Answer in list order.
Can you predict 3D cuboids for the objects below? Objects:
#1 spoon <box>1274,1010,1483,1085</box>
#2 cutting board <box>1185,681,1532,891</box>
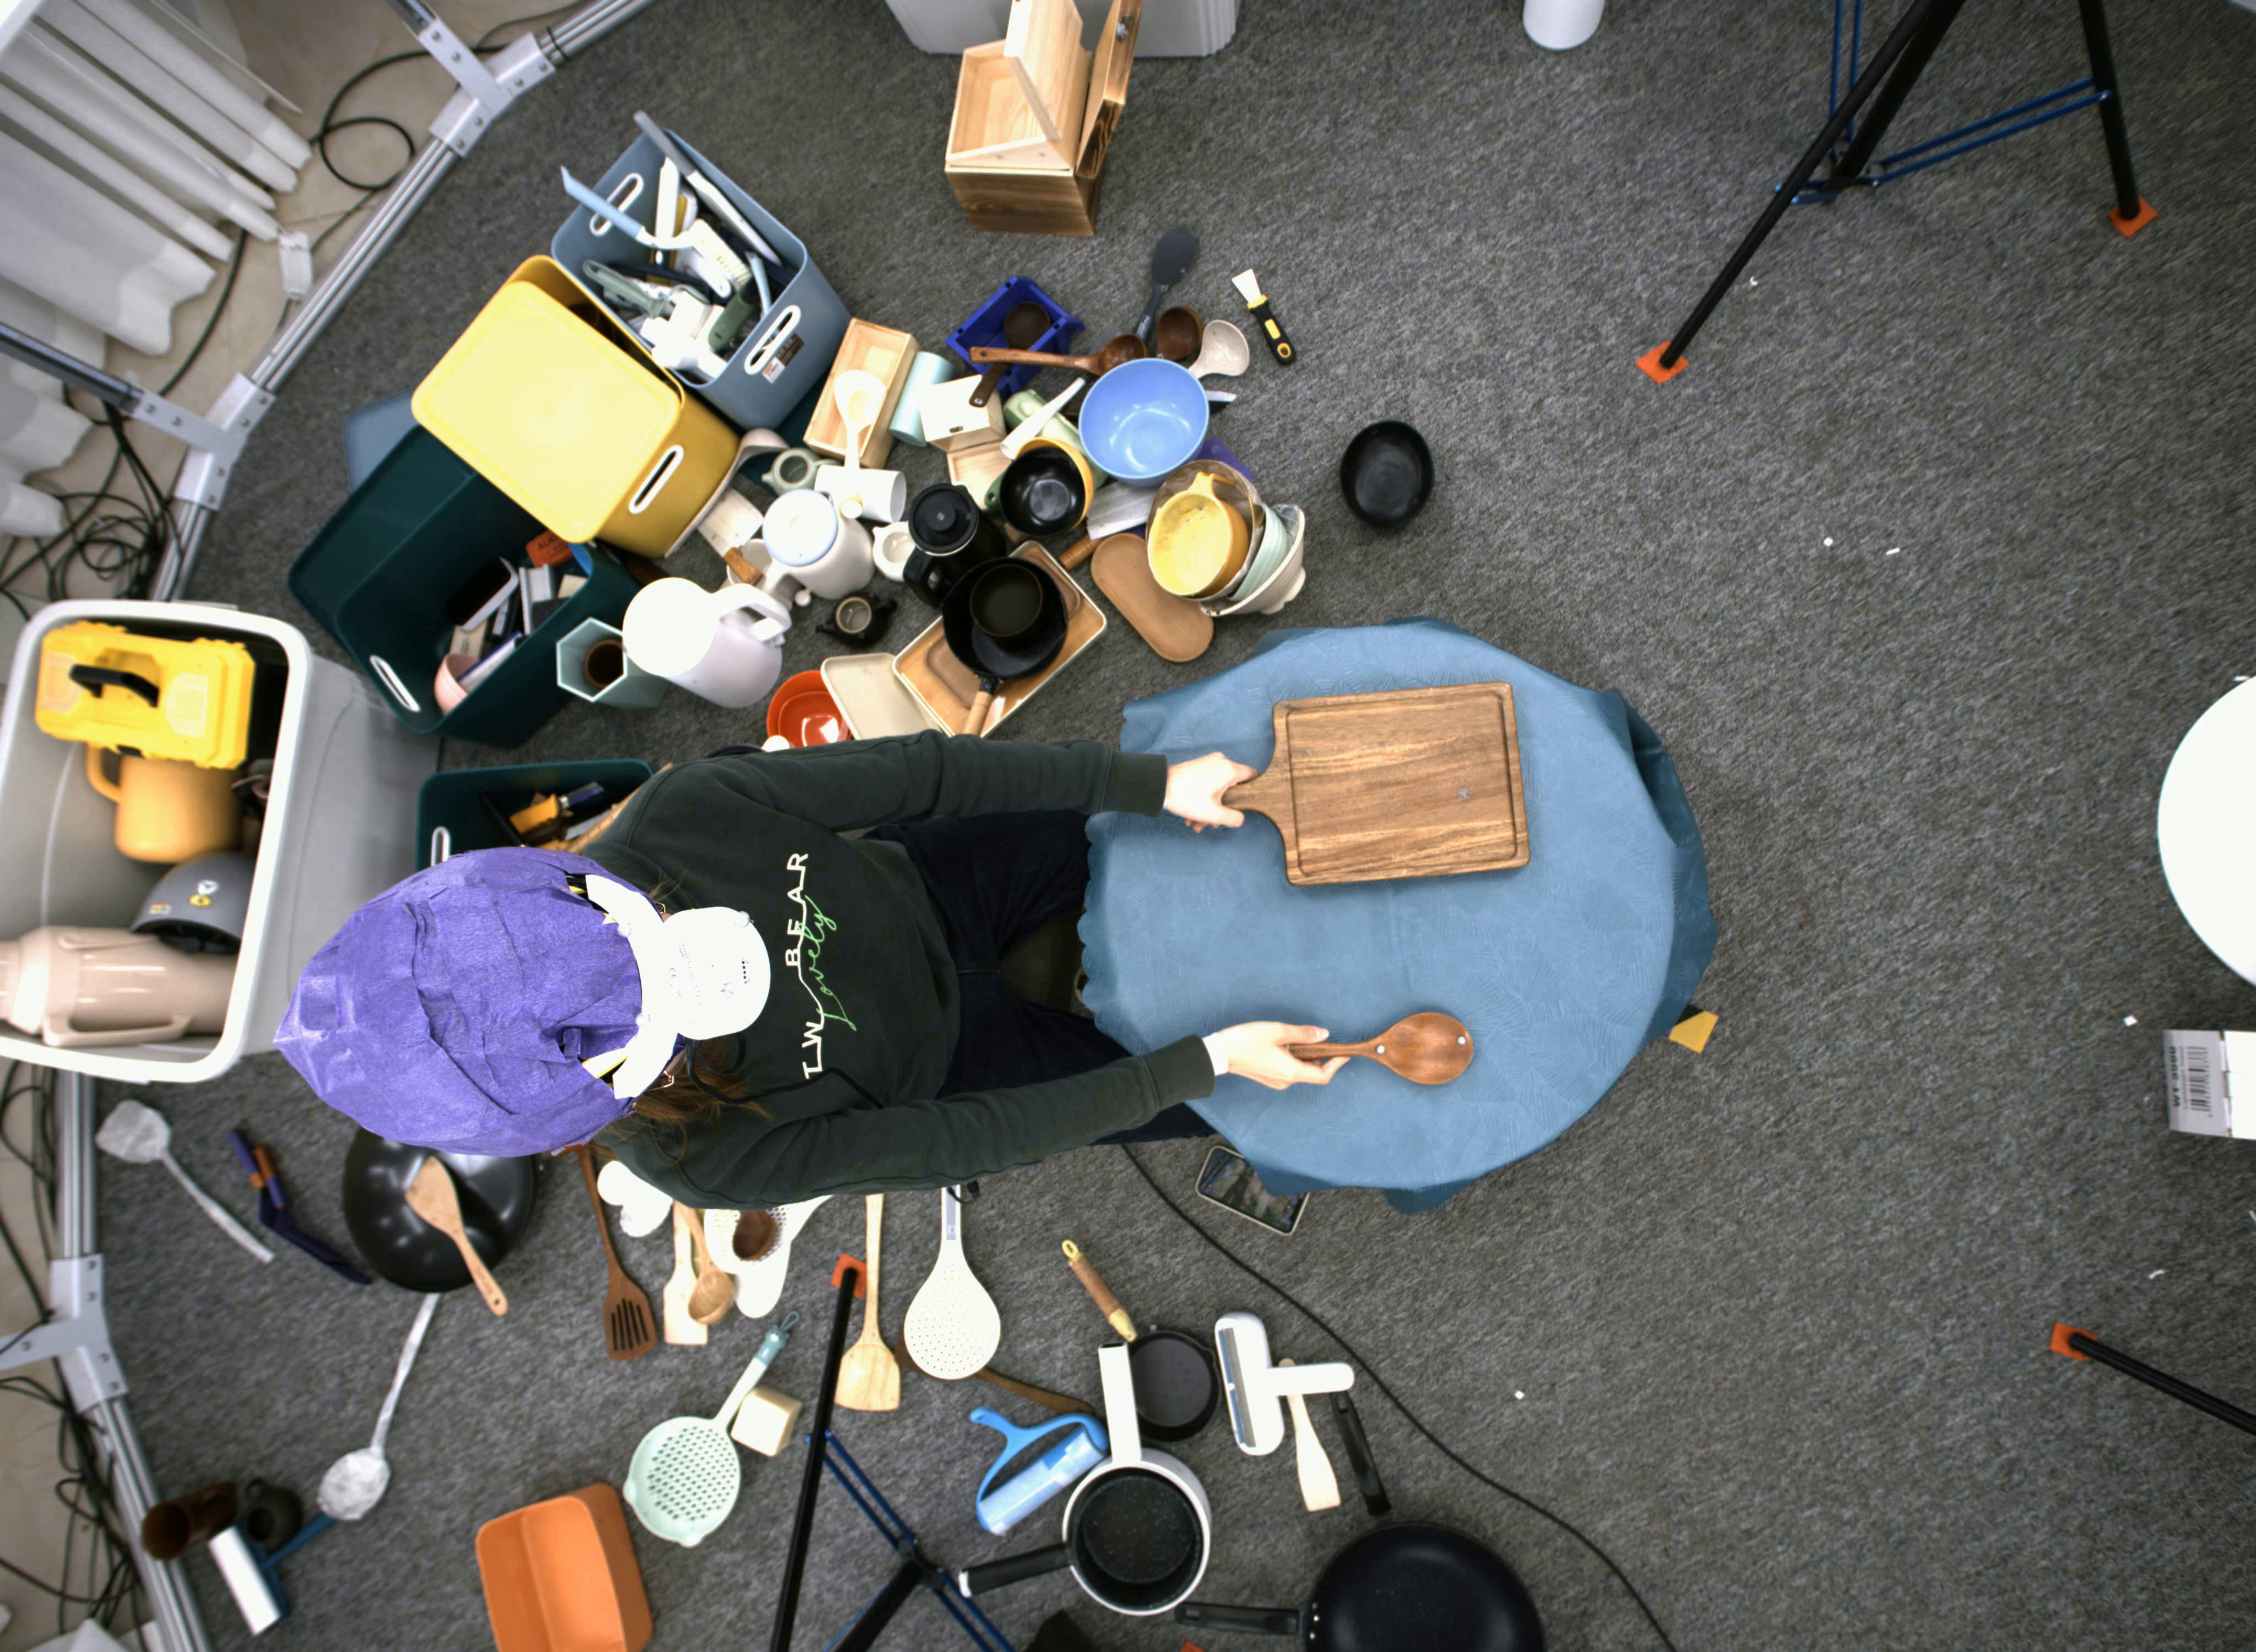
[{"bbox_3d":[0.258,0.218,1.429,0.216,0.017,0.075,8,84,4],"label":"spoon"},{"bbox_3d":[0.235,-0.039,1.439,0.353,0.023,0.200,-5,88,5],"label":"cutting board"}]
